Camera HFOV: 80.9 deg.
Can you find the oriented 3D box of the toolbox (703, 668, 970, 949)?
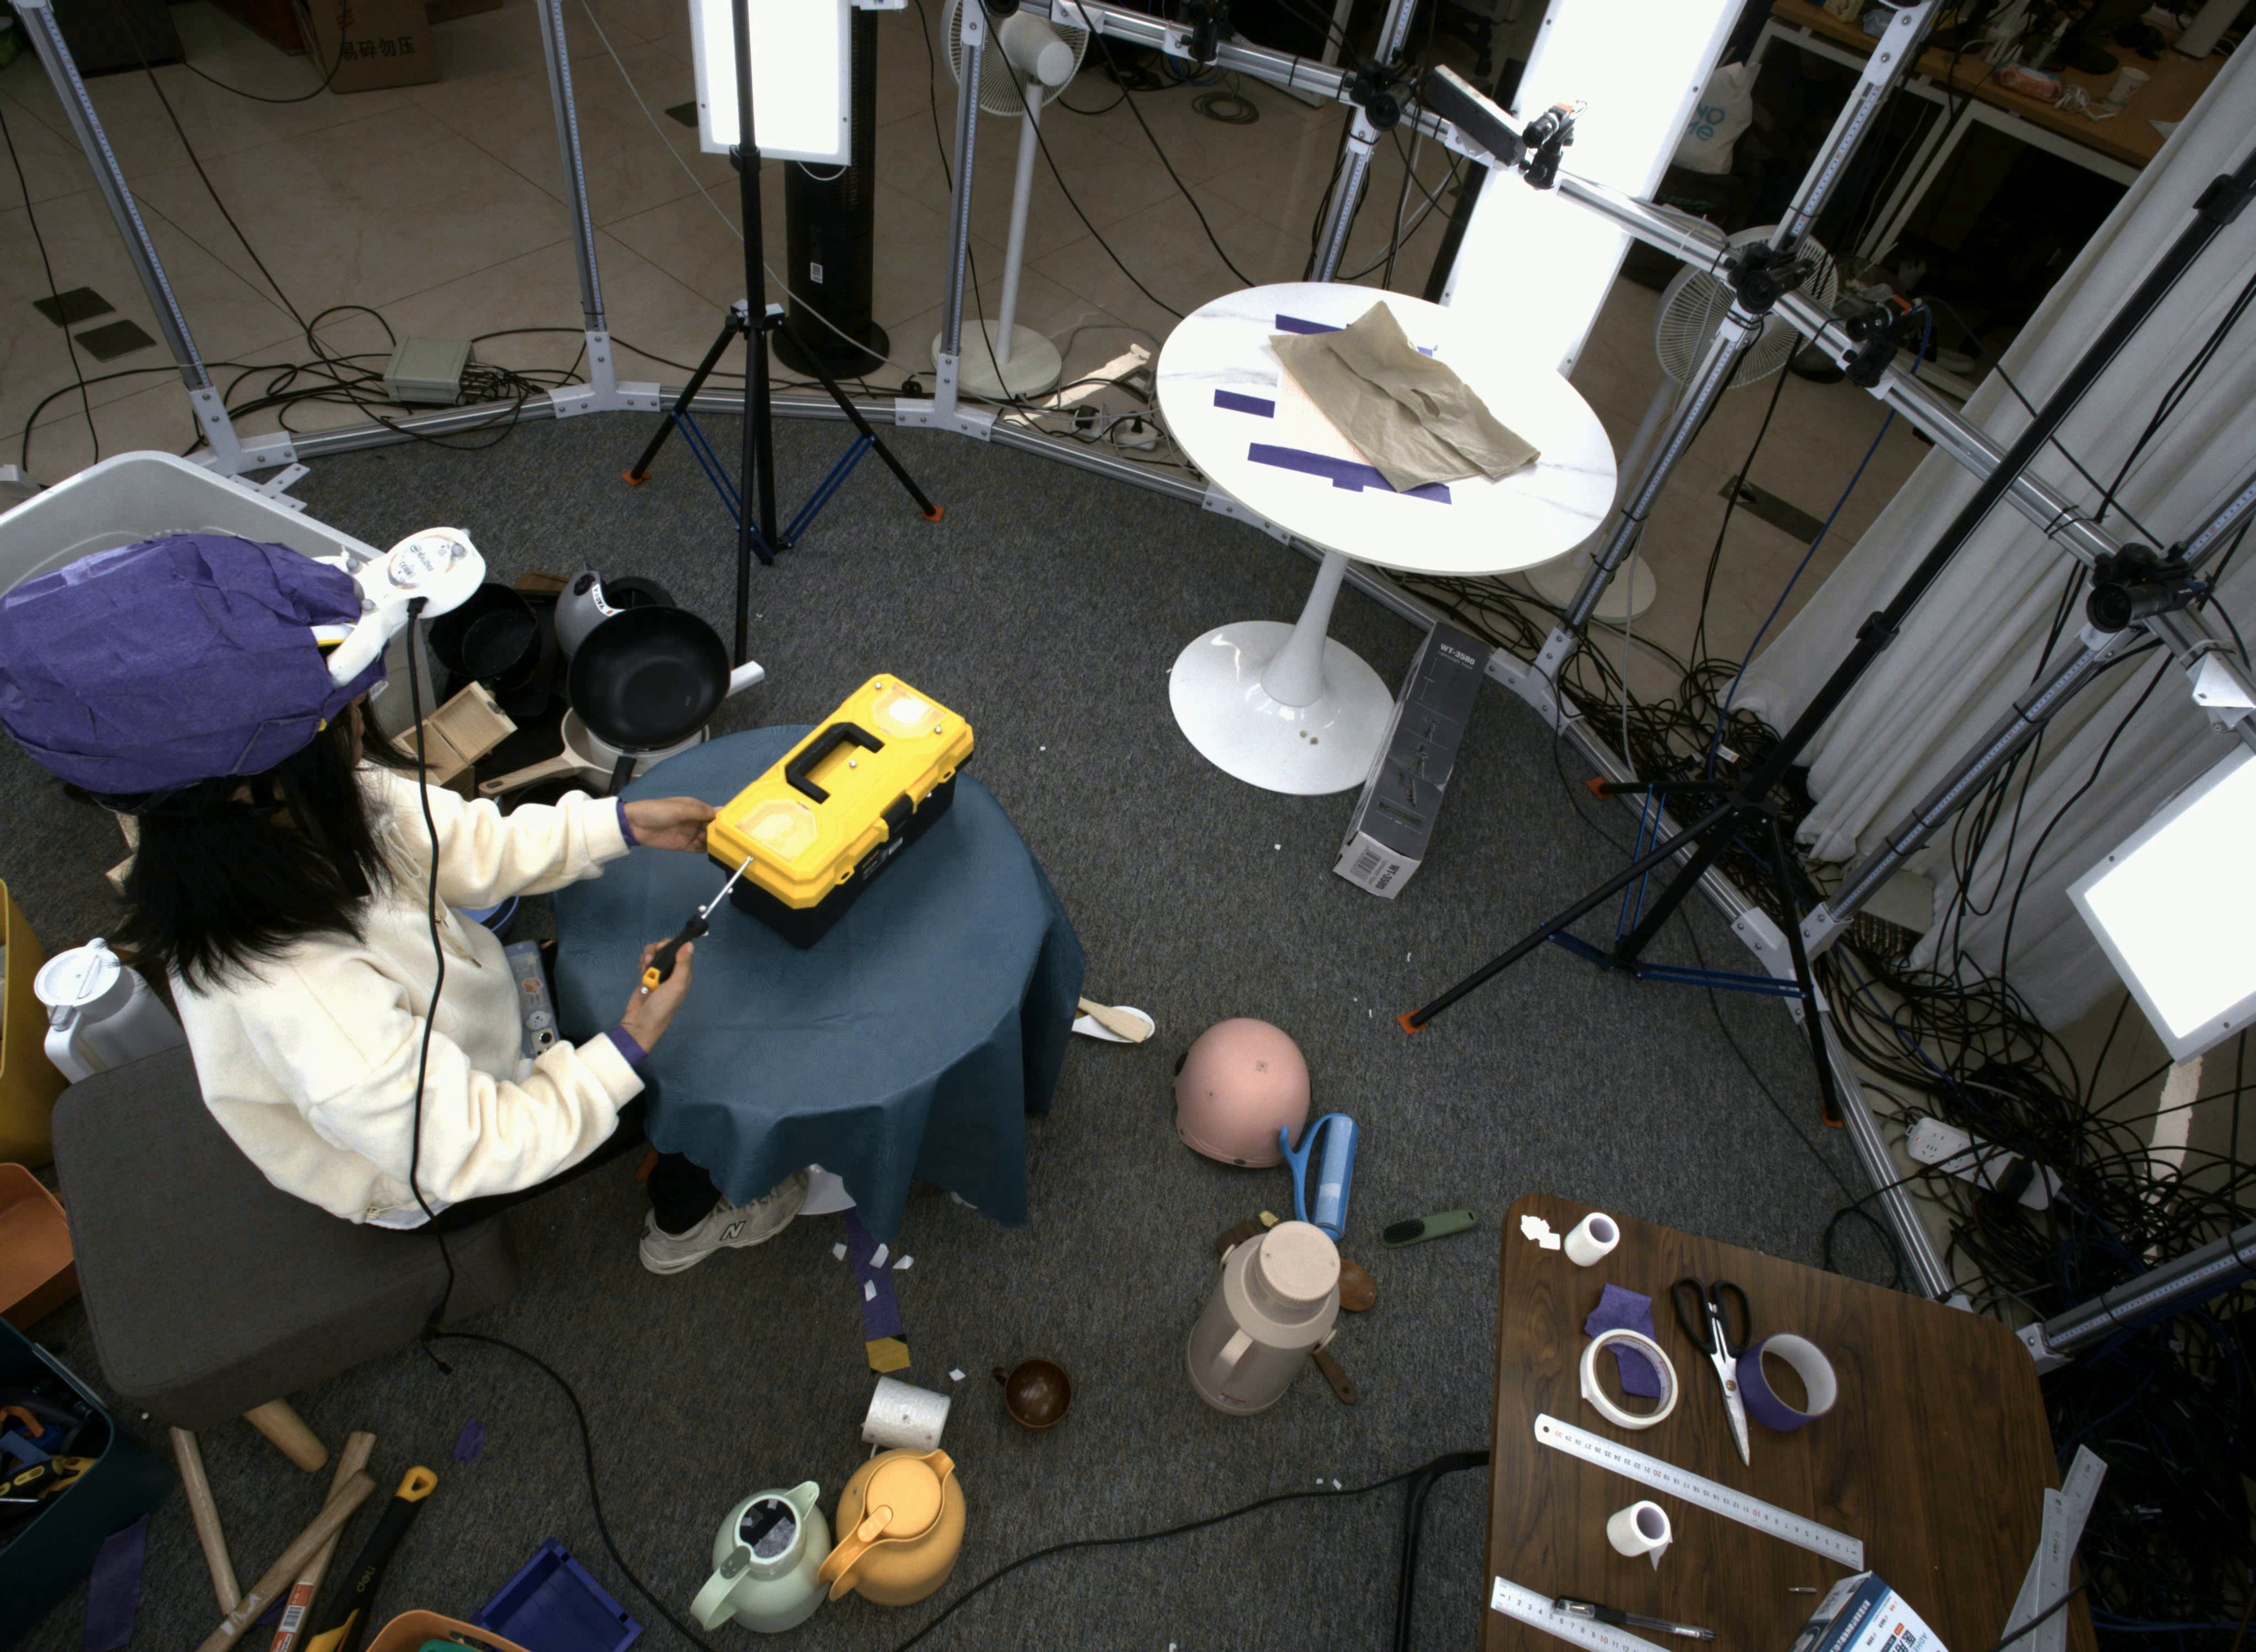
[{"bbox_3d":[-0.360,-0.024,1.641,0.178,0.176,0.350,31,52,12],"label":"toolbox"}]

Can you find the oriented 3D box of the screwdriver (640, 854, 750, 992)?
[{"bbox_3d":[-0.479,0.104,1.440,0.031,0.032,0.195,26,54,8],"label":"screwdriver"}]
